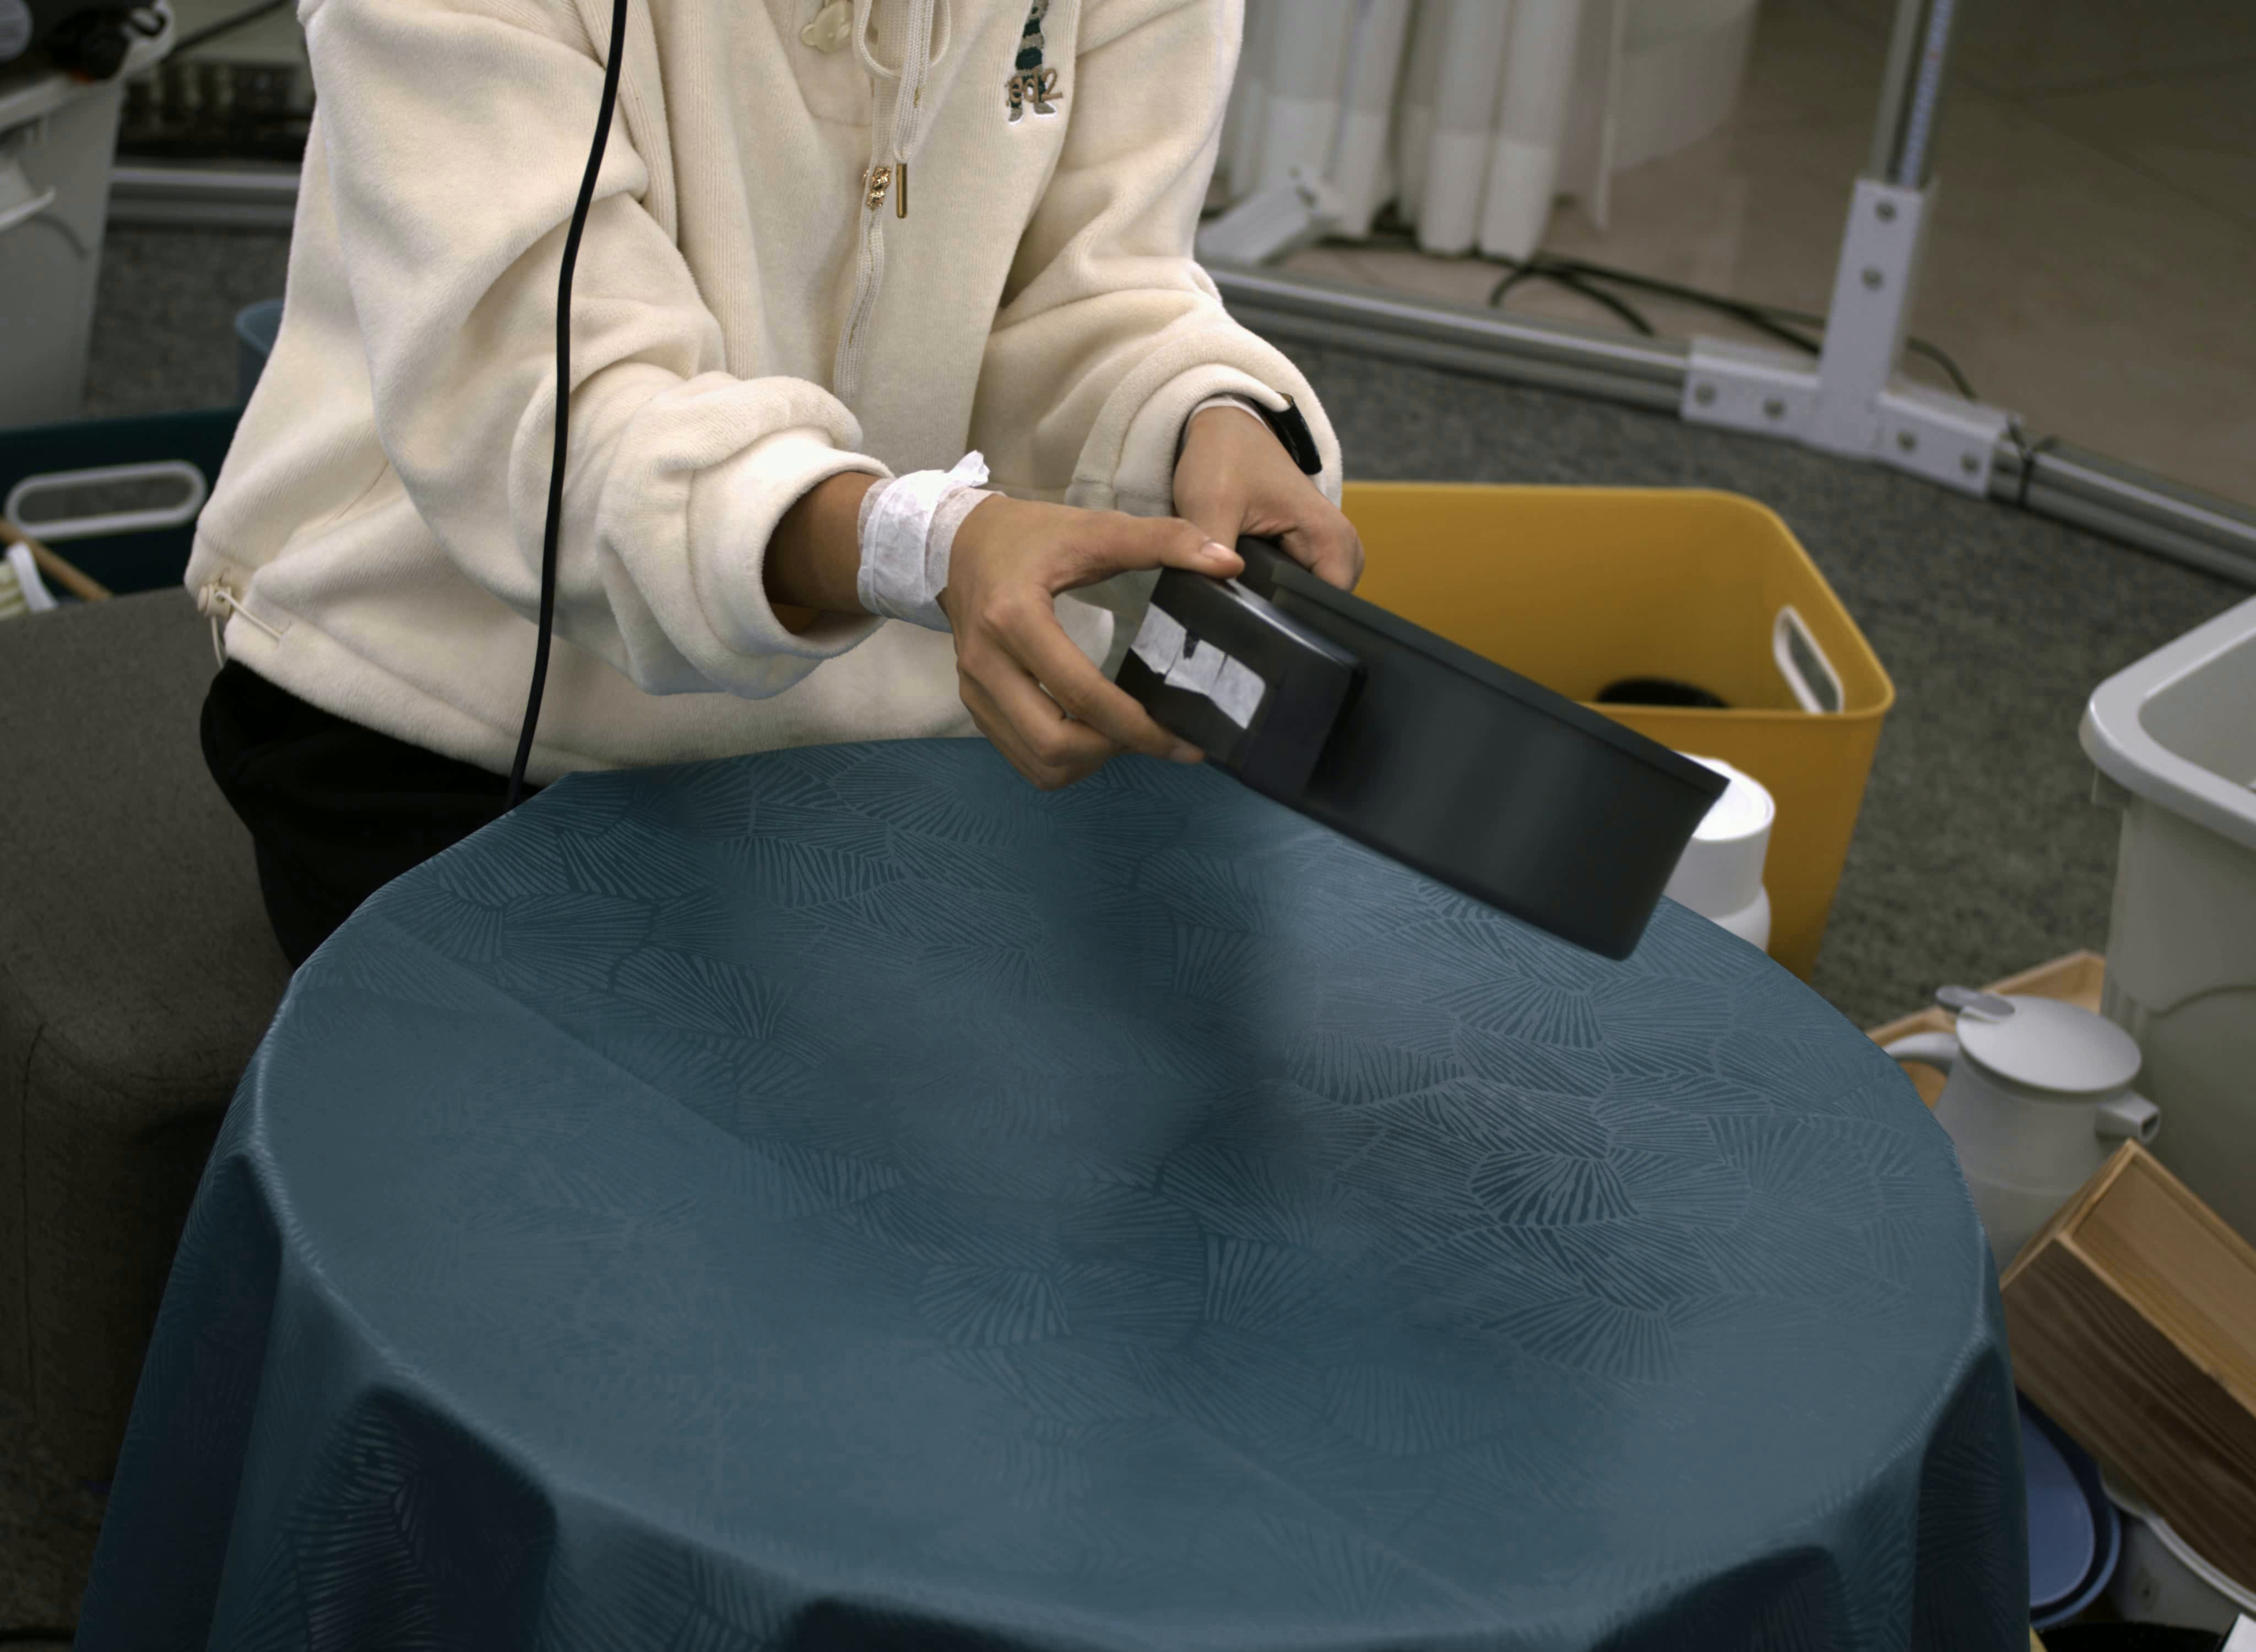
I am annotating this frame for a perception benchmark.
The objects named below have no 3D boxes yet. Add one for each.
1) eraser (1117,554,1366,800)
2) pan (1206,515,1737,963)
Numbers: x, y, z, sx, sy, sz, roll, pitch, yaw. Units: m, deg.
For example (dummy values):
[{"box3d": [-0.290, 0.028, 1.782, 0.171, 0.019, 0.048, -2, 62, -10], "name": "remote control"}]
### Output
[{"box3d": [0.036, -0.050, 1.759, 0.030, 0.053, 0.126, 22, 7, -24], "name": "eraser"}, {"box3d": [0.086, -0.040, 1.882, 0.170, 0.086, 0.331, 26, 4, -24], "name": "pan"}]
